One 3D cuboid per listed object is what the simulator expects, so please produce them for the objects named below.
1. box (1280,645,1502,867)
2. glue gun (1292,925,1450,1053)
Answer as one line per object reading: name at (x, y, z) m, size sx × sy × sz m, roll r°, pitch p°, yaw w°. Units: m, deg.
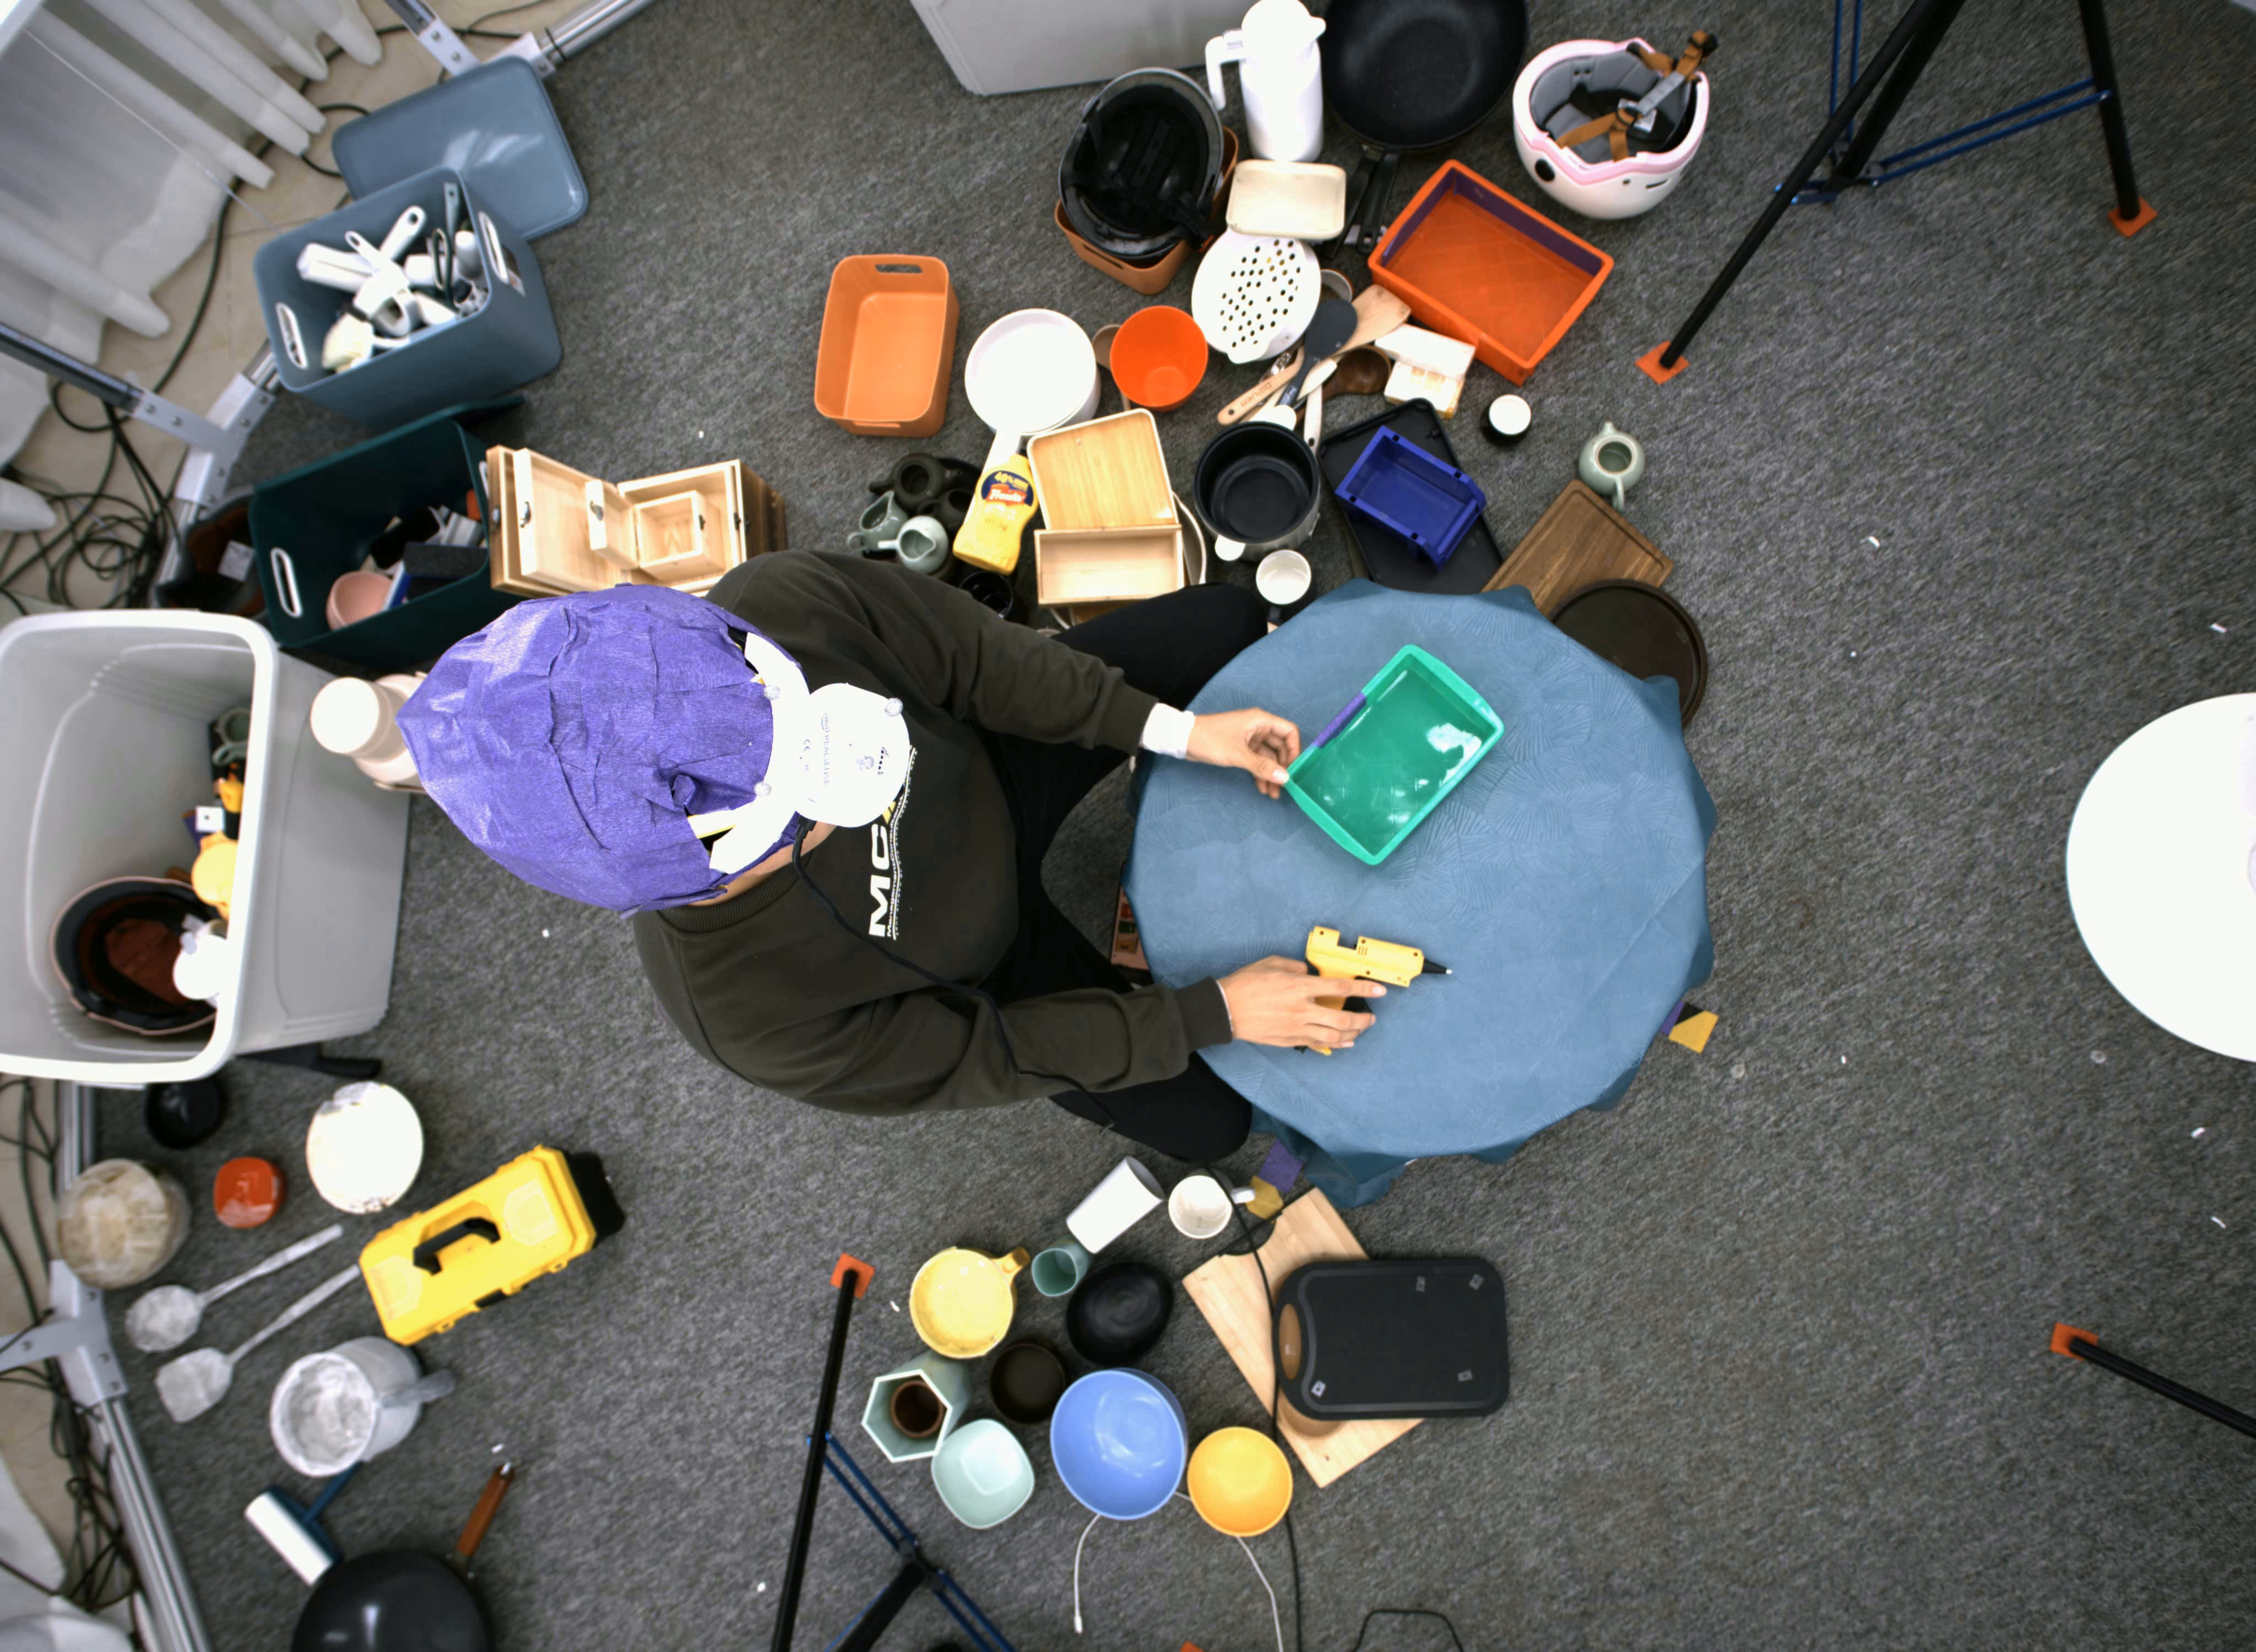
box at (0.274, -0.070, 1.435) m, size 0.138 × 0.065 × 0.211 m, roll 43°, pitch 96°, yaw 12°
glue gun at (0.254, 0.177, 1.443) m, size 0.152 × 0.031 × 0.133 m, roll 8°, pitch 89°, yaw 11°
